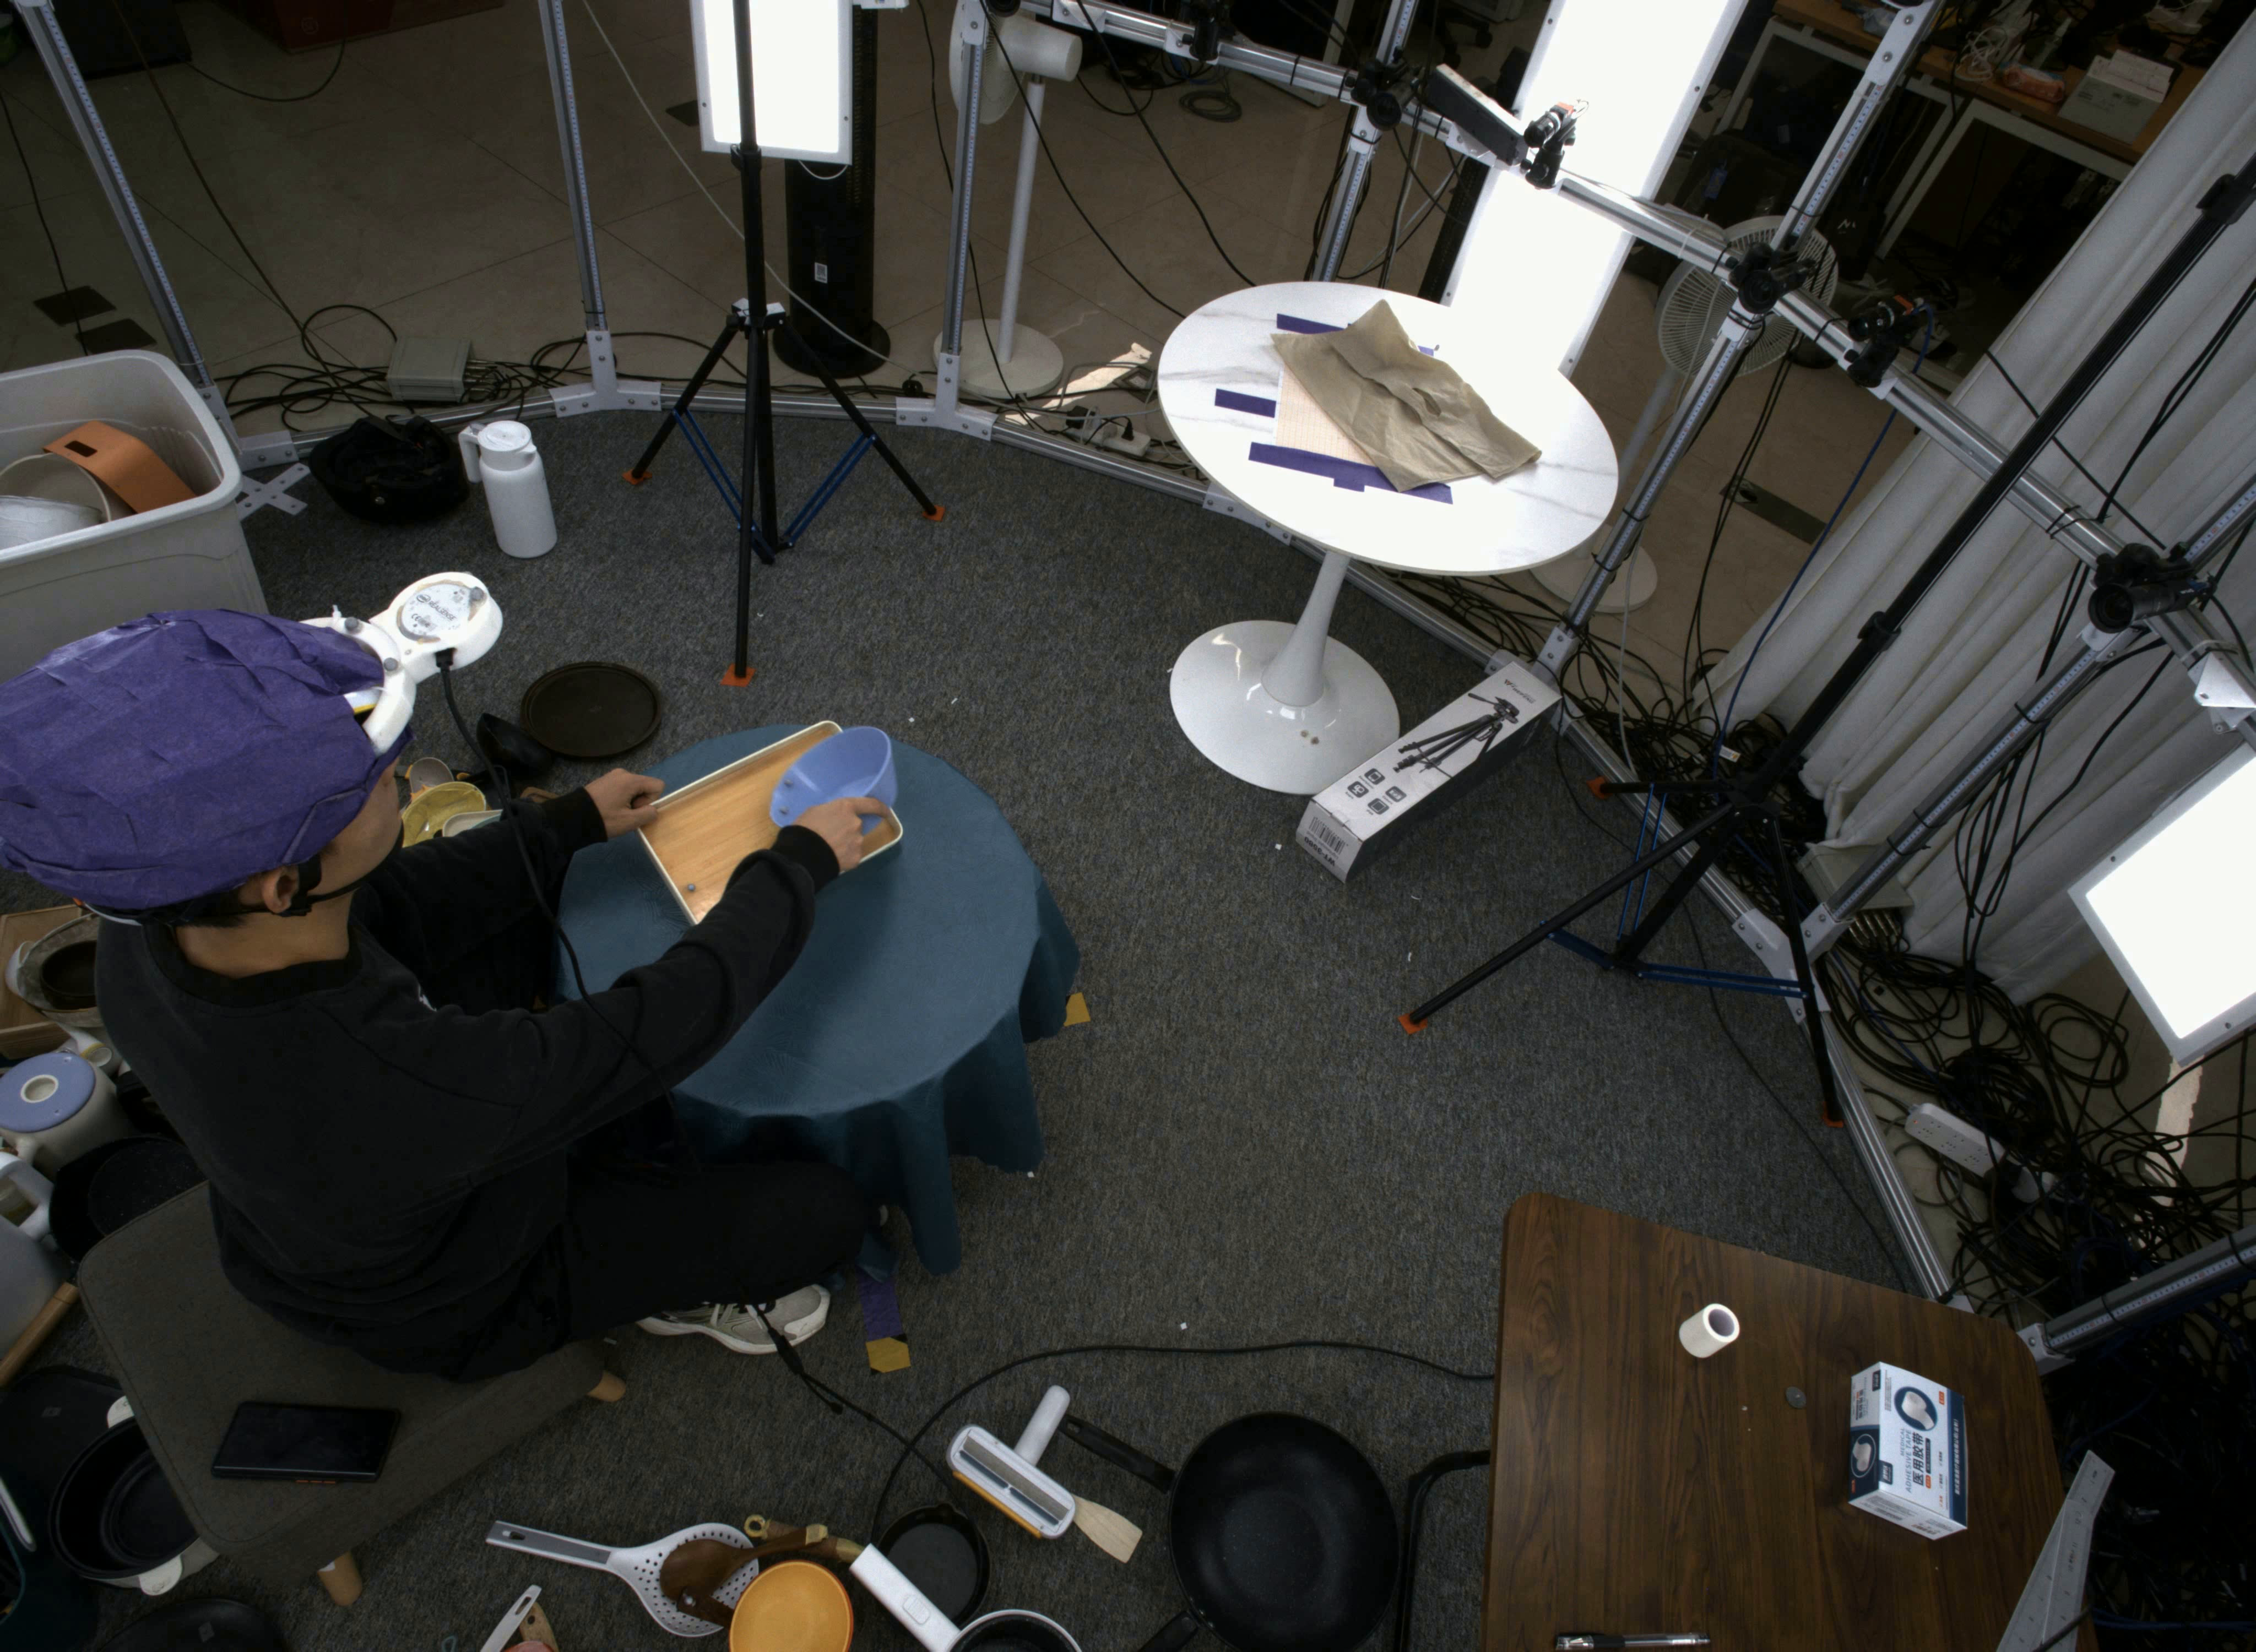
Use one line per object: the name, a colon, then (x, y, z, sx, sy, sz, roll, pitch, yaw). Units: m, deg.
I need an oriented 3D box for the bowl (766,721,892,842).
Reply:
bowl: (-0.364, -0.046, 1.630, 0.173, 0.073, 0.172, -17, 42, 18)

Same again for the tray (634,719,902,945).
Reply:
tray: (-0.457, 0.001, 1.659, 0.301, 0.027, 0.192, -32, 89, -32)
